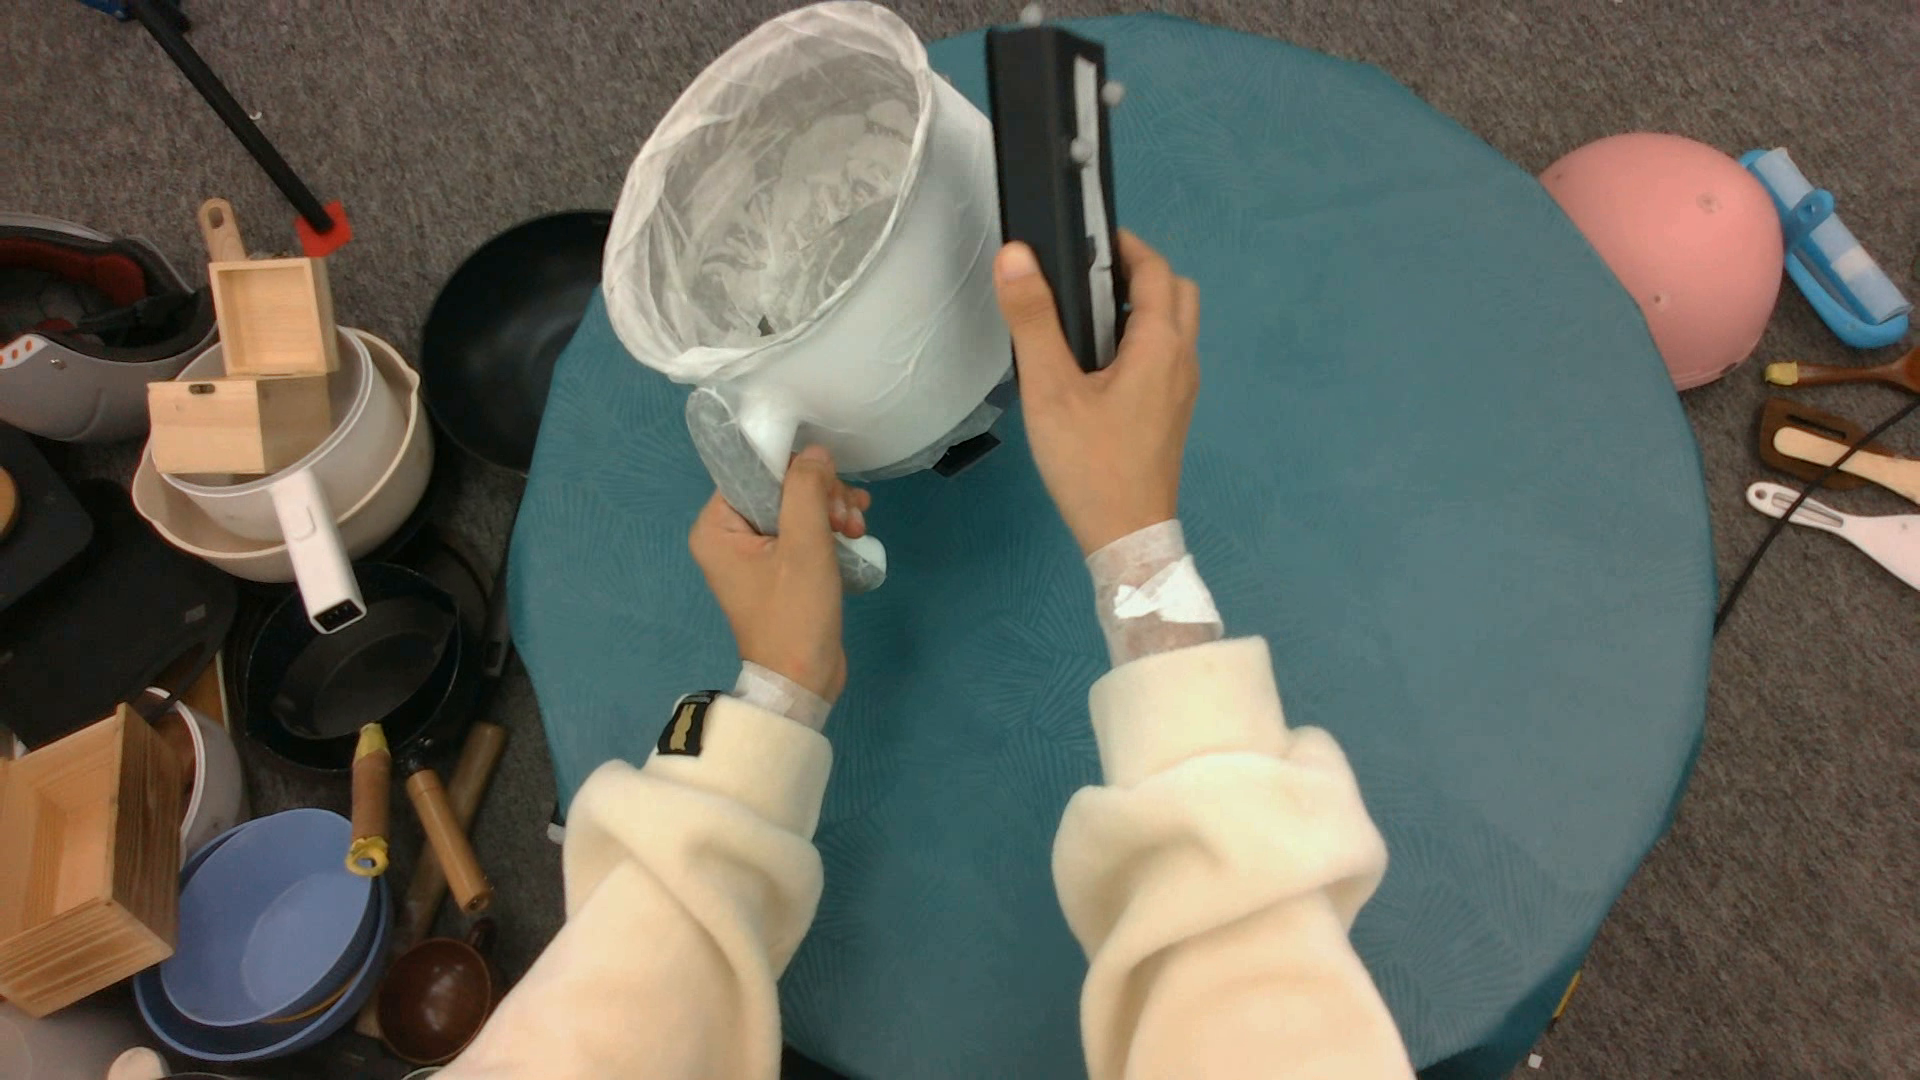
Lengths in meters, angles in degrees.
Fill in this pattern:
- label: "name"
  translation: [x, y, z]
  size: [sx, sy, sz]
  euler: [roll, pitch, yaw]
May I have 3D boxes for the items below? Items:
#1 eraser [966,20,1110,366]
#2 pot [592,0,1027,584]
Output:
- label: "eraser"
  translation: [0.031, -0.129, 0.521]
  size: [0.030, 0.054, 0.125]
  euler: [-2, 97, 29]
- label: "pot"
  translation: [-0.059, -0.104, 0.611]
  size: [0.178, 0.136, 0.234]
  euler: [-5, 66, 34]
